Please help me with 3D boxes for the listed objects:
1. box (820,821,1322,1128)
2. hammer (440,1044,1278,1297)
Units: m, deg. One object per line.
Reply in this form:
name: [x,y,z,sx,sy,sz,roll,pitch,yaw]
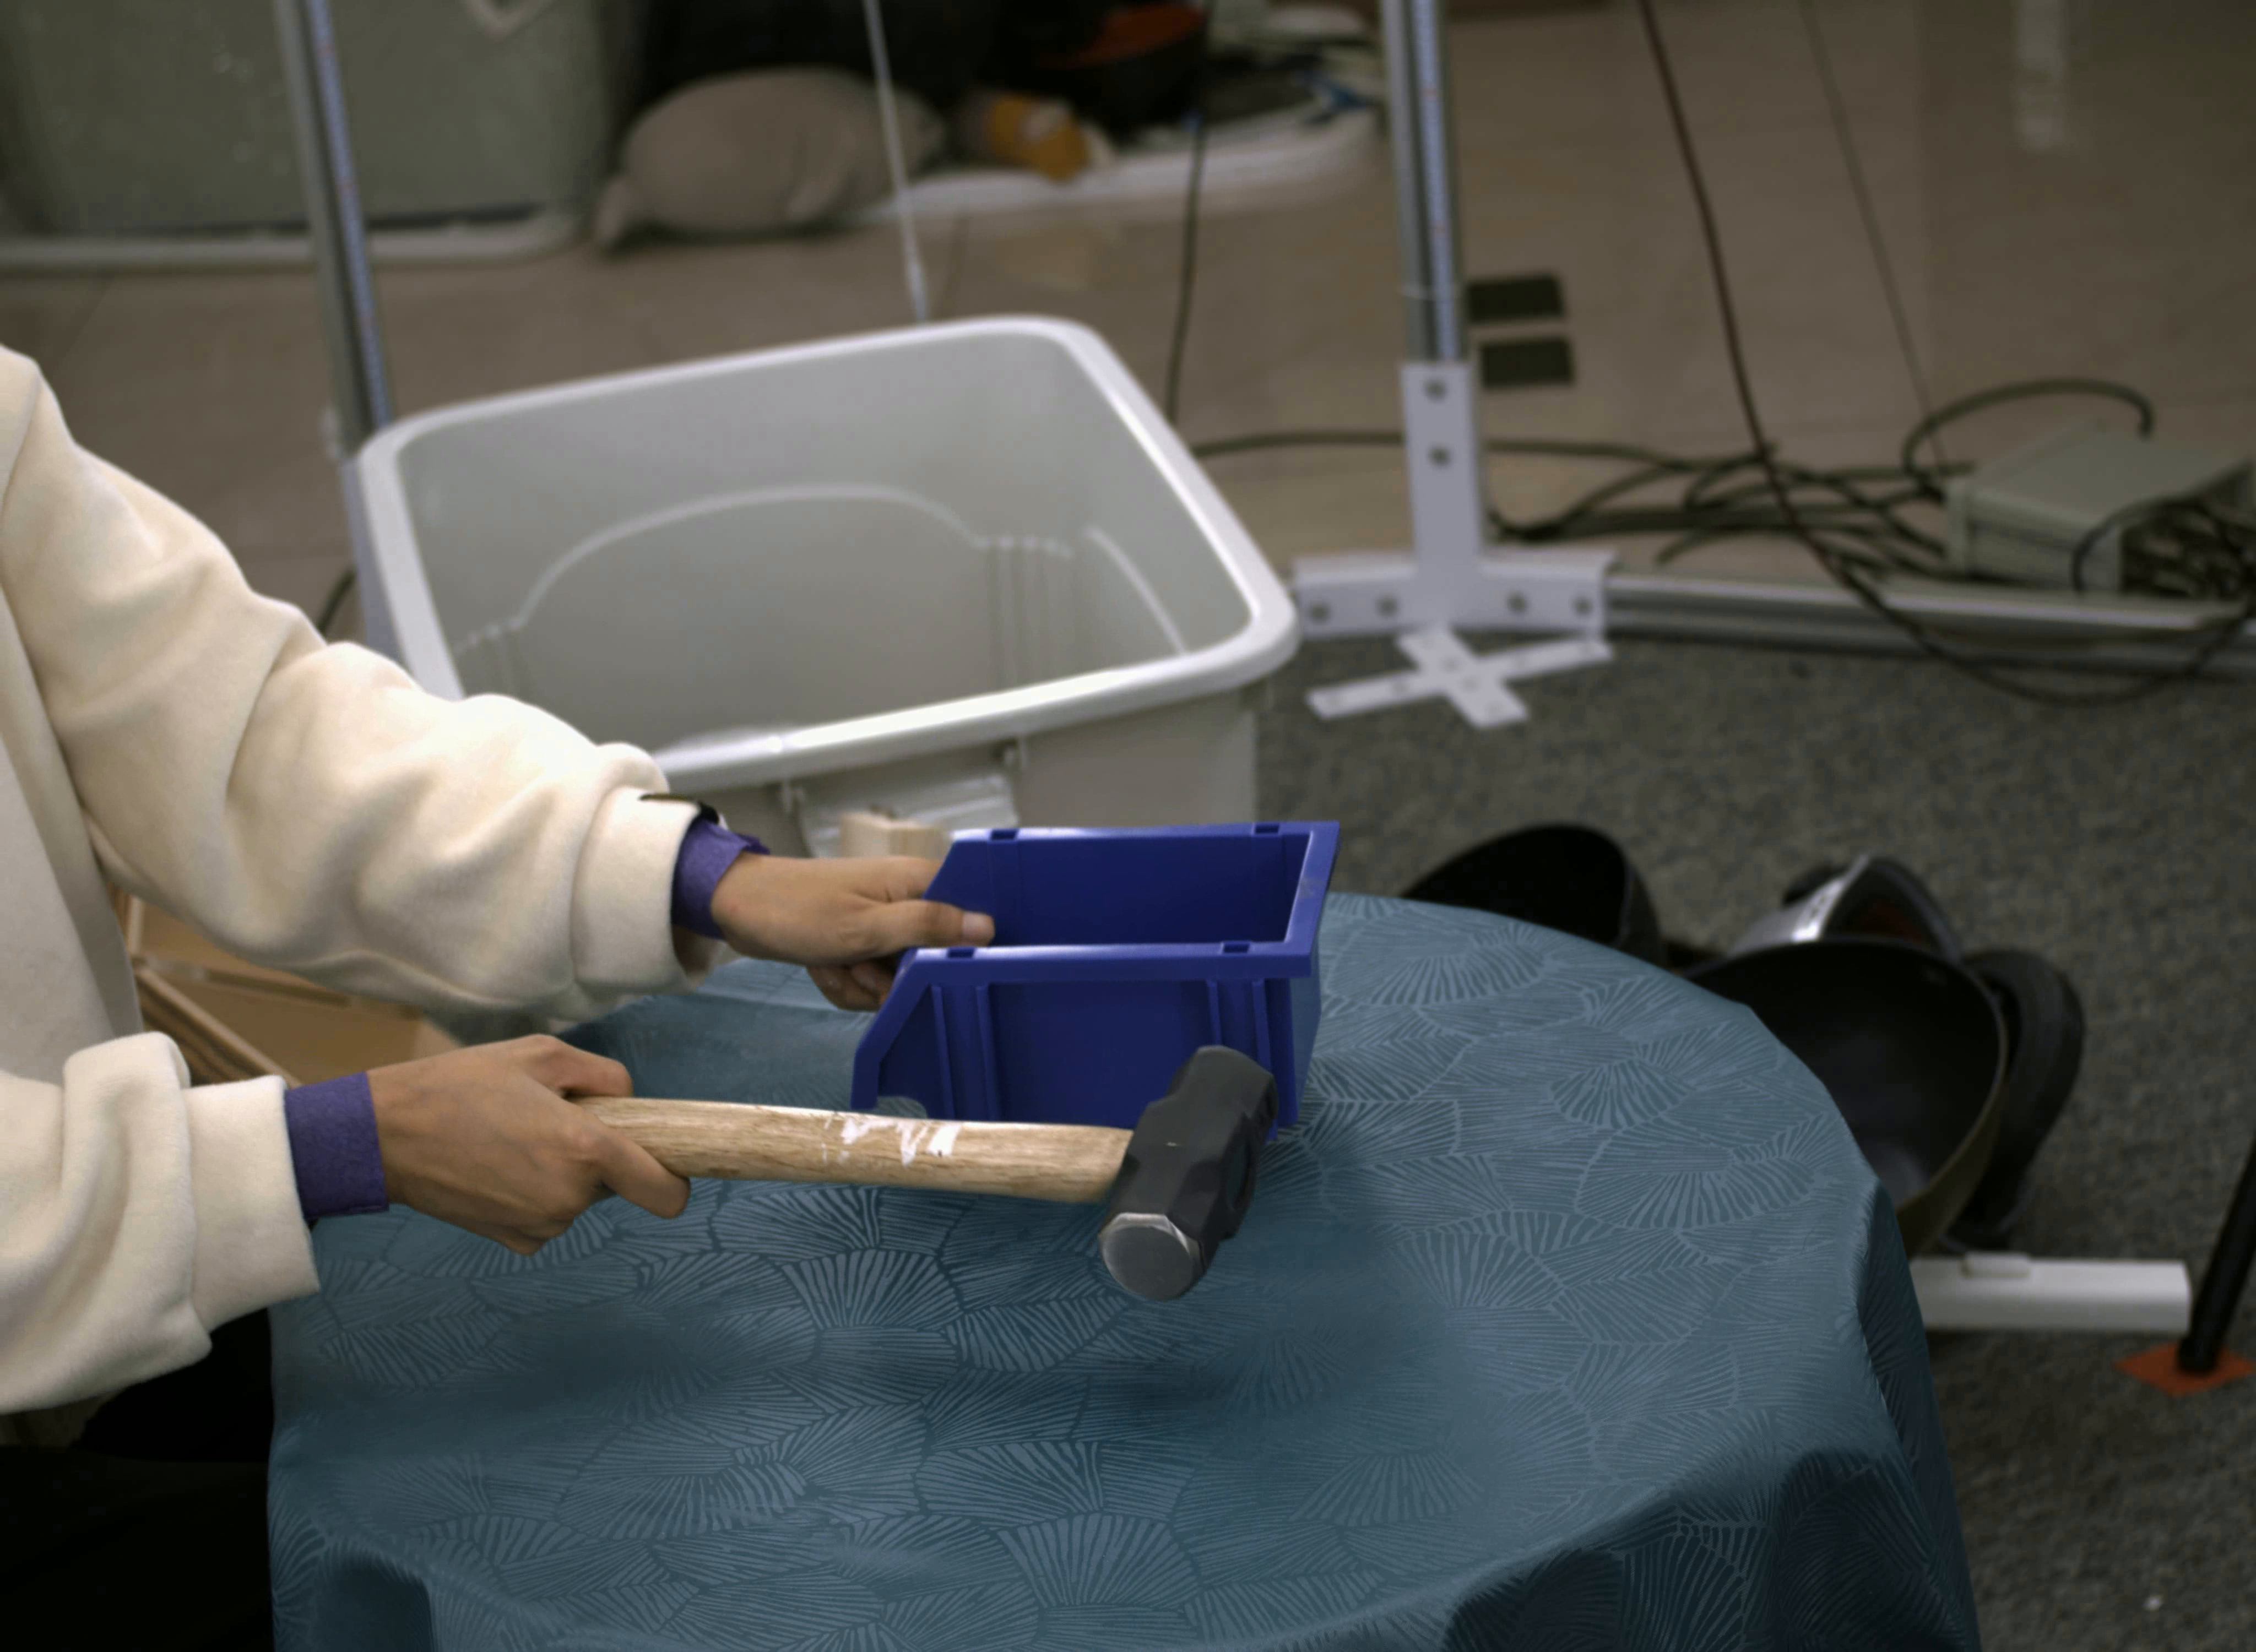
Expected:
box: [-0.021,0.060,2.167,0.179,0.083,0.123,1,25,9]
hammer: [-0.105,0.112,2.044,0.304,0.039,0.105,4,35,19]
